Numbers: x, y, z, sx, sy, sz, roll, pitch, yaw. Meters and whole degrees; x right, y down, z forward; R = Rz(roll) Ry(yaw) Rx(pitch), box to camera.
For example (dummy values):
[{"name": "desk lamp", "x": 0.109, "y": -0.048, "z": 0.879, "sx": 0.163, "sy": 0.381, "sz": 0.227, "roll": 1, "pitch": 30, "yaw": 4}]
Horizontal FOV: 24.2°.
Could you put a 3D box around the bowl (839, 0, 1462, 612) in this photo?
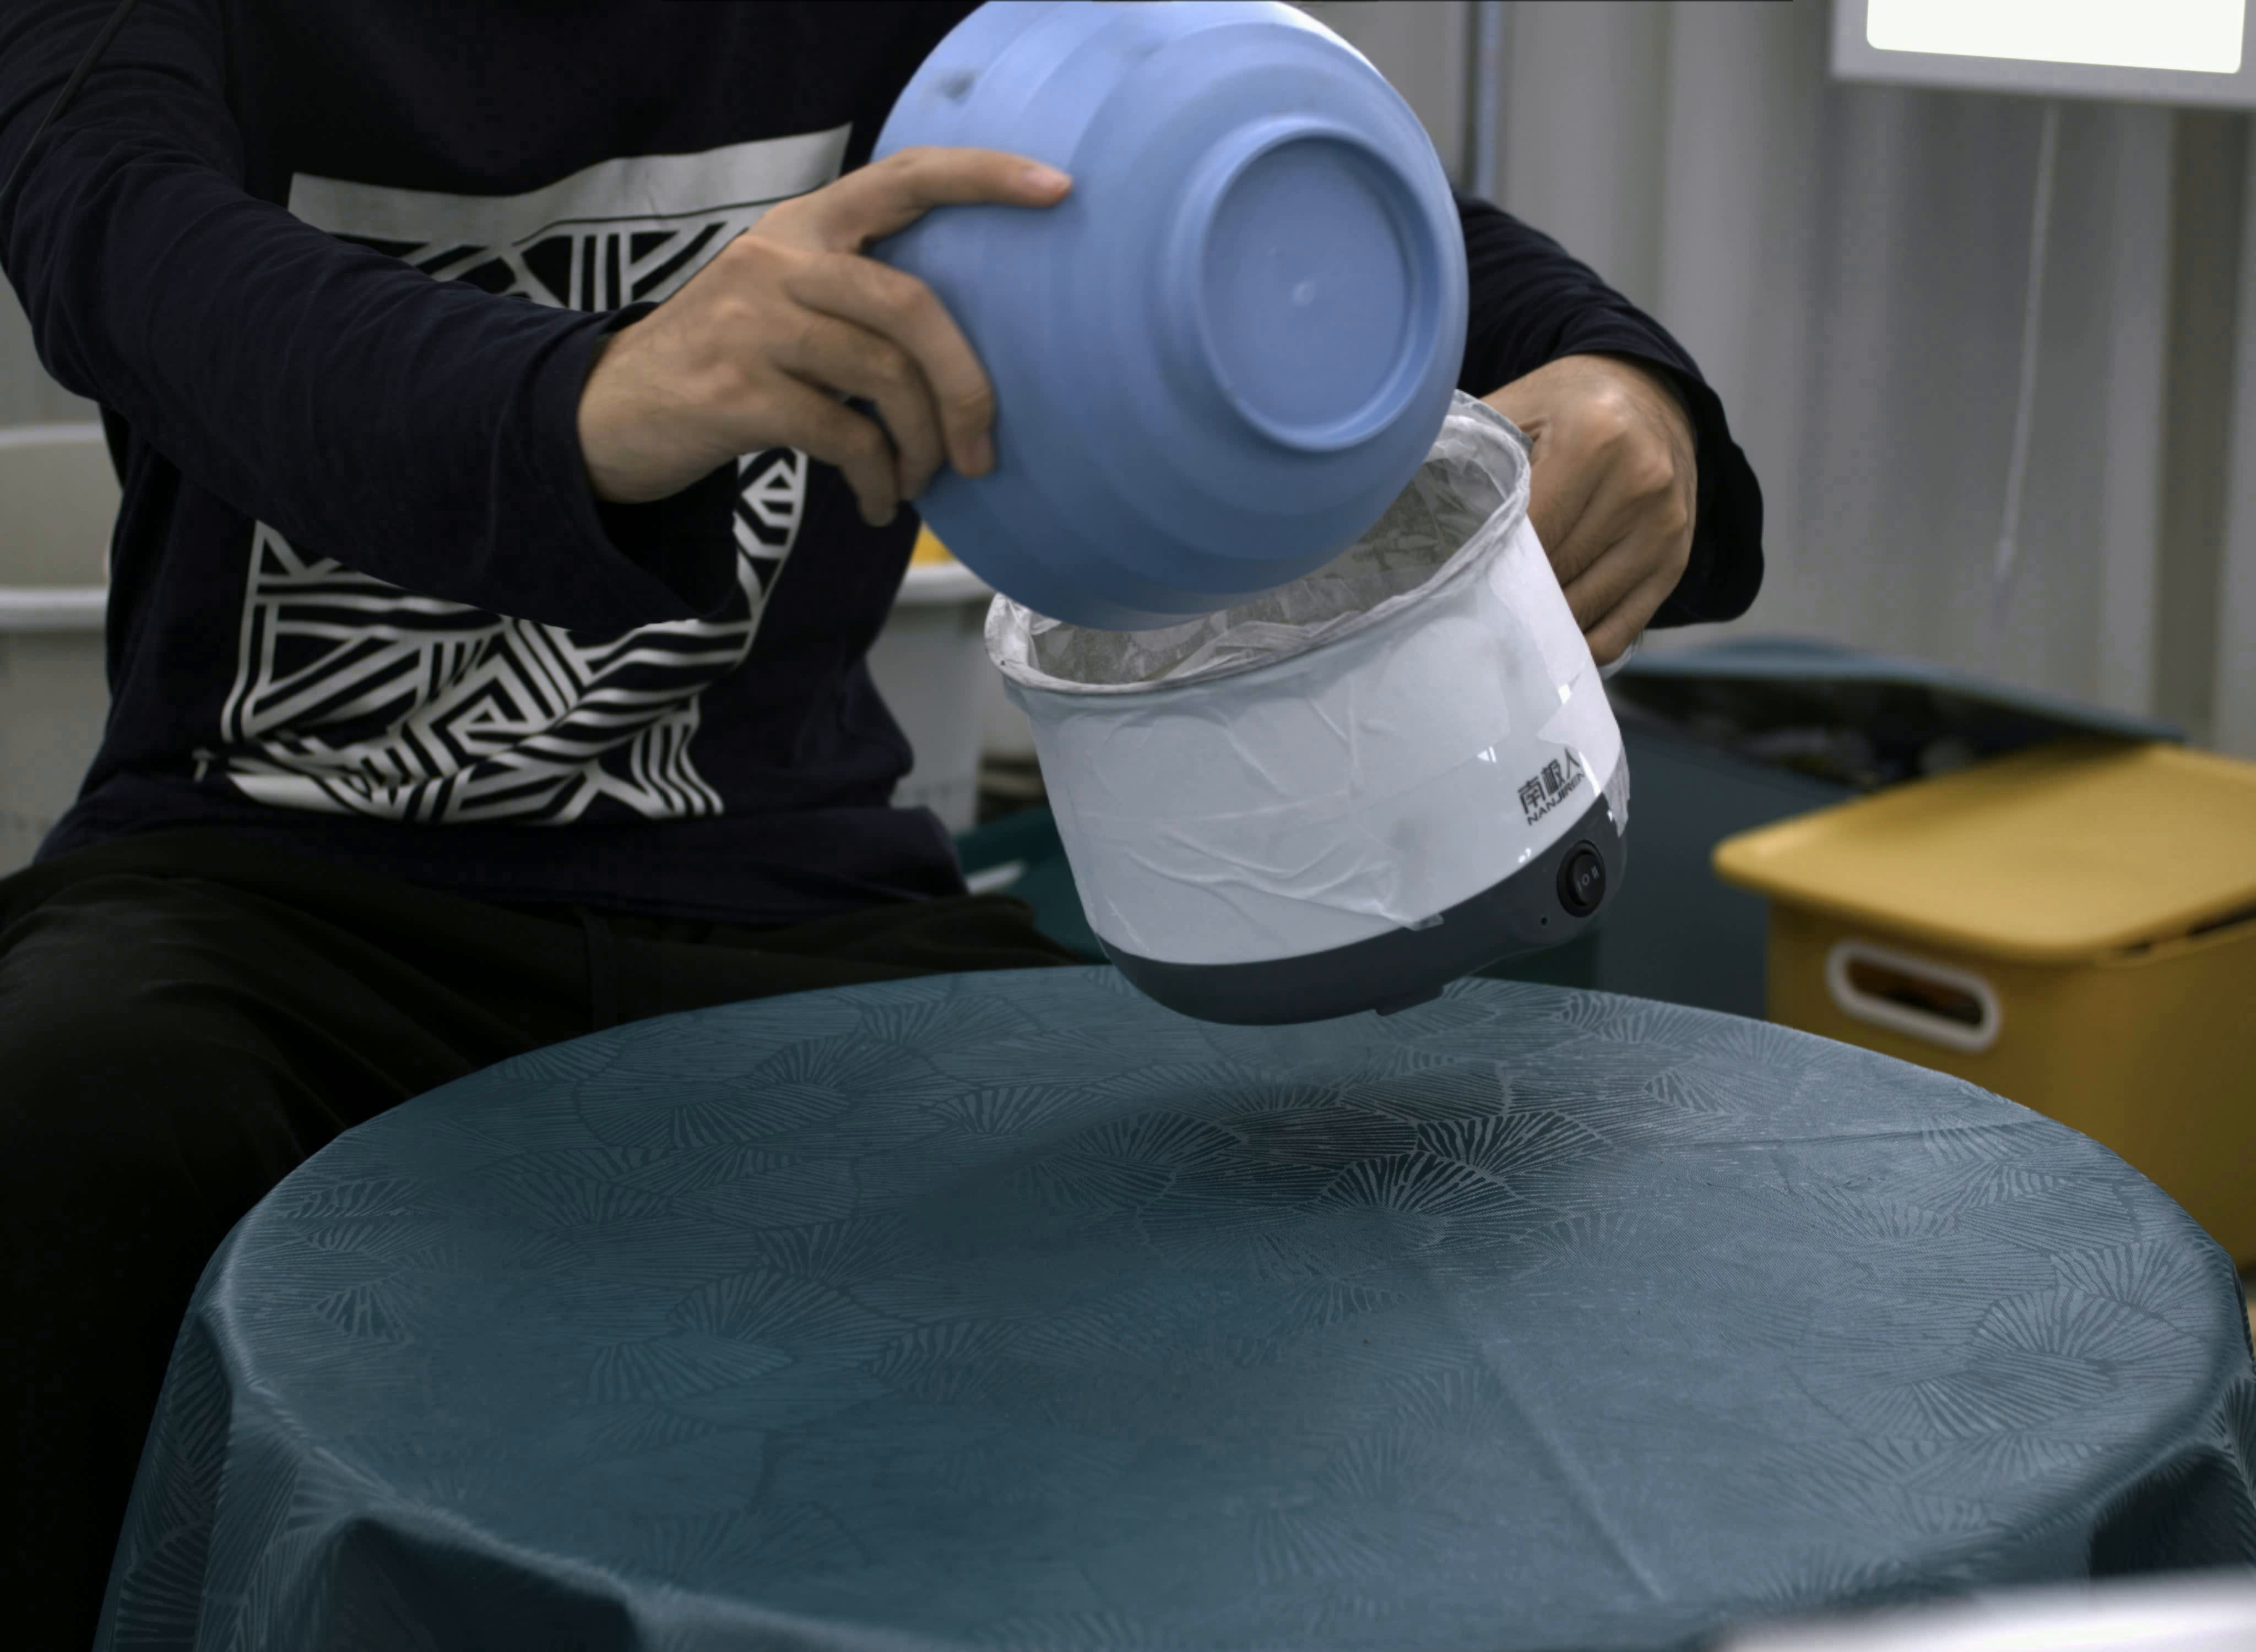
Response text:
[{"name": "bowl", "x": 0.024, "y": -0.154, "z": 1.502, "sx": 0.197, "sy": 0.198, "sz": 0.094, "roll": -11, "pitch": 15, "yaw": -35}]

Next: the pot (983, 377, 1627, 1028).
[{"name": "pot", "x": 0.074, "y": -0.046, "z": 1.654, "sx": 0.176, "sy": 0.138, "sz": 0.233, "roll": 6, "pitch": 36, "yaw": 39}]
